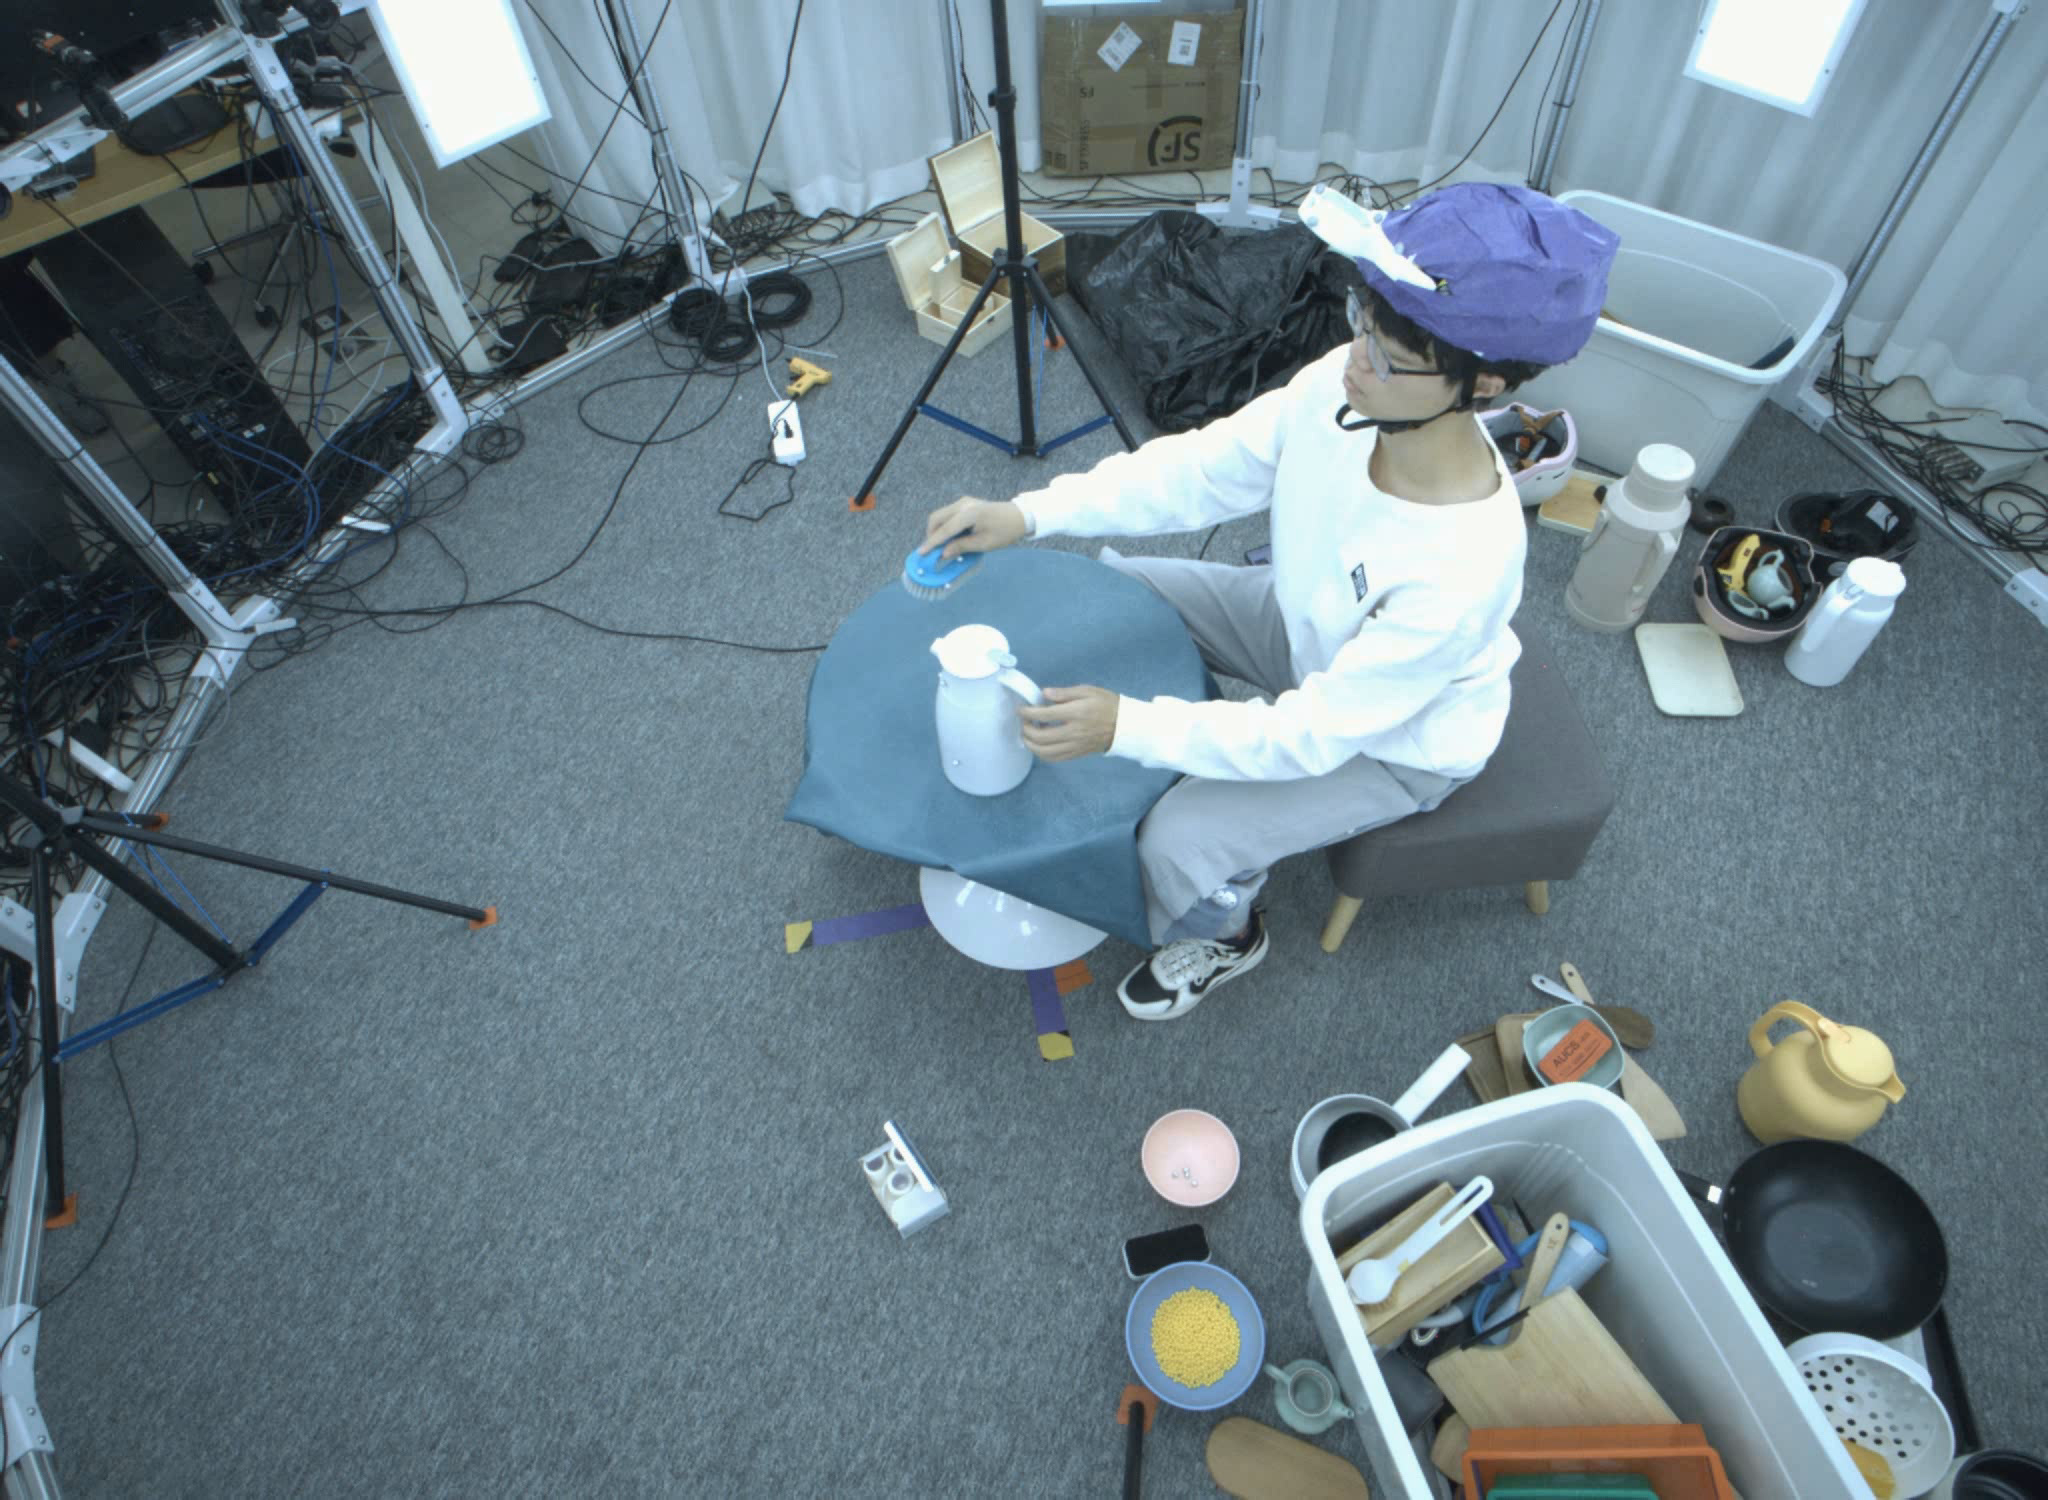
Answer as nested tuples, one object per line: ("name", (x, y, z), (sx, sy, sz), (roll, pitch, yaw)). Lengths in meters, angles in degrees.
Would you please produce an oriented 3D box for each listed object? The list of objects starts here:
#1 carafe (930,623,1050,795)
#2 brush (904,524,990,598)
("carafe", (-0.042, -0.056, 1.671), (0.166, 0.251, 0.132), (20, 58, 16))
("brush", (-0.110, -0.277, 1.717), (0.083, 0.064, 0.143), (36, 55, 19))
